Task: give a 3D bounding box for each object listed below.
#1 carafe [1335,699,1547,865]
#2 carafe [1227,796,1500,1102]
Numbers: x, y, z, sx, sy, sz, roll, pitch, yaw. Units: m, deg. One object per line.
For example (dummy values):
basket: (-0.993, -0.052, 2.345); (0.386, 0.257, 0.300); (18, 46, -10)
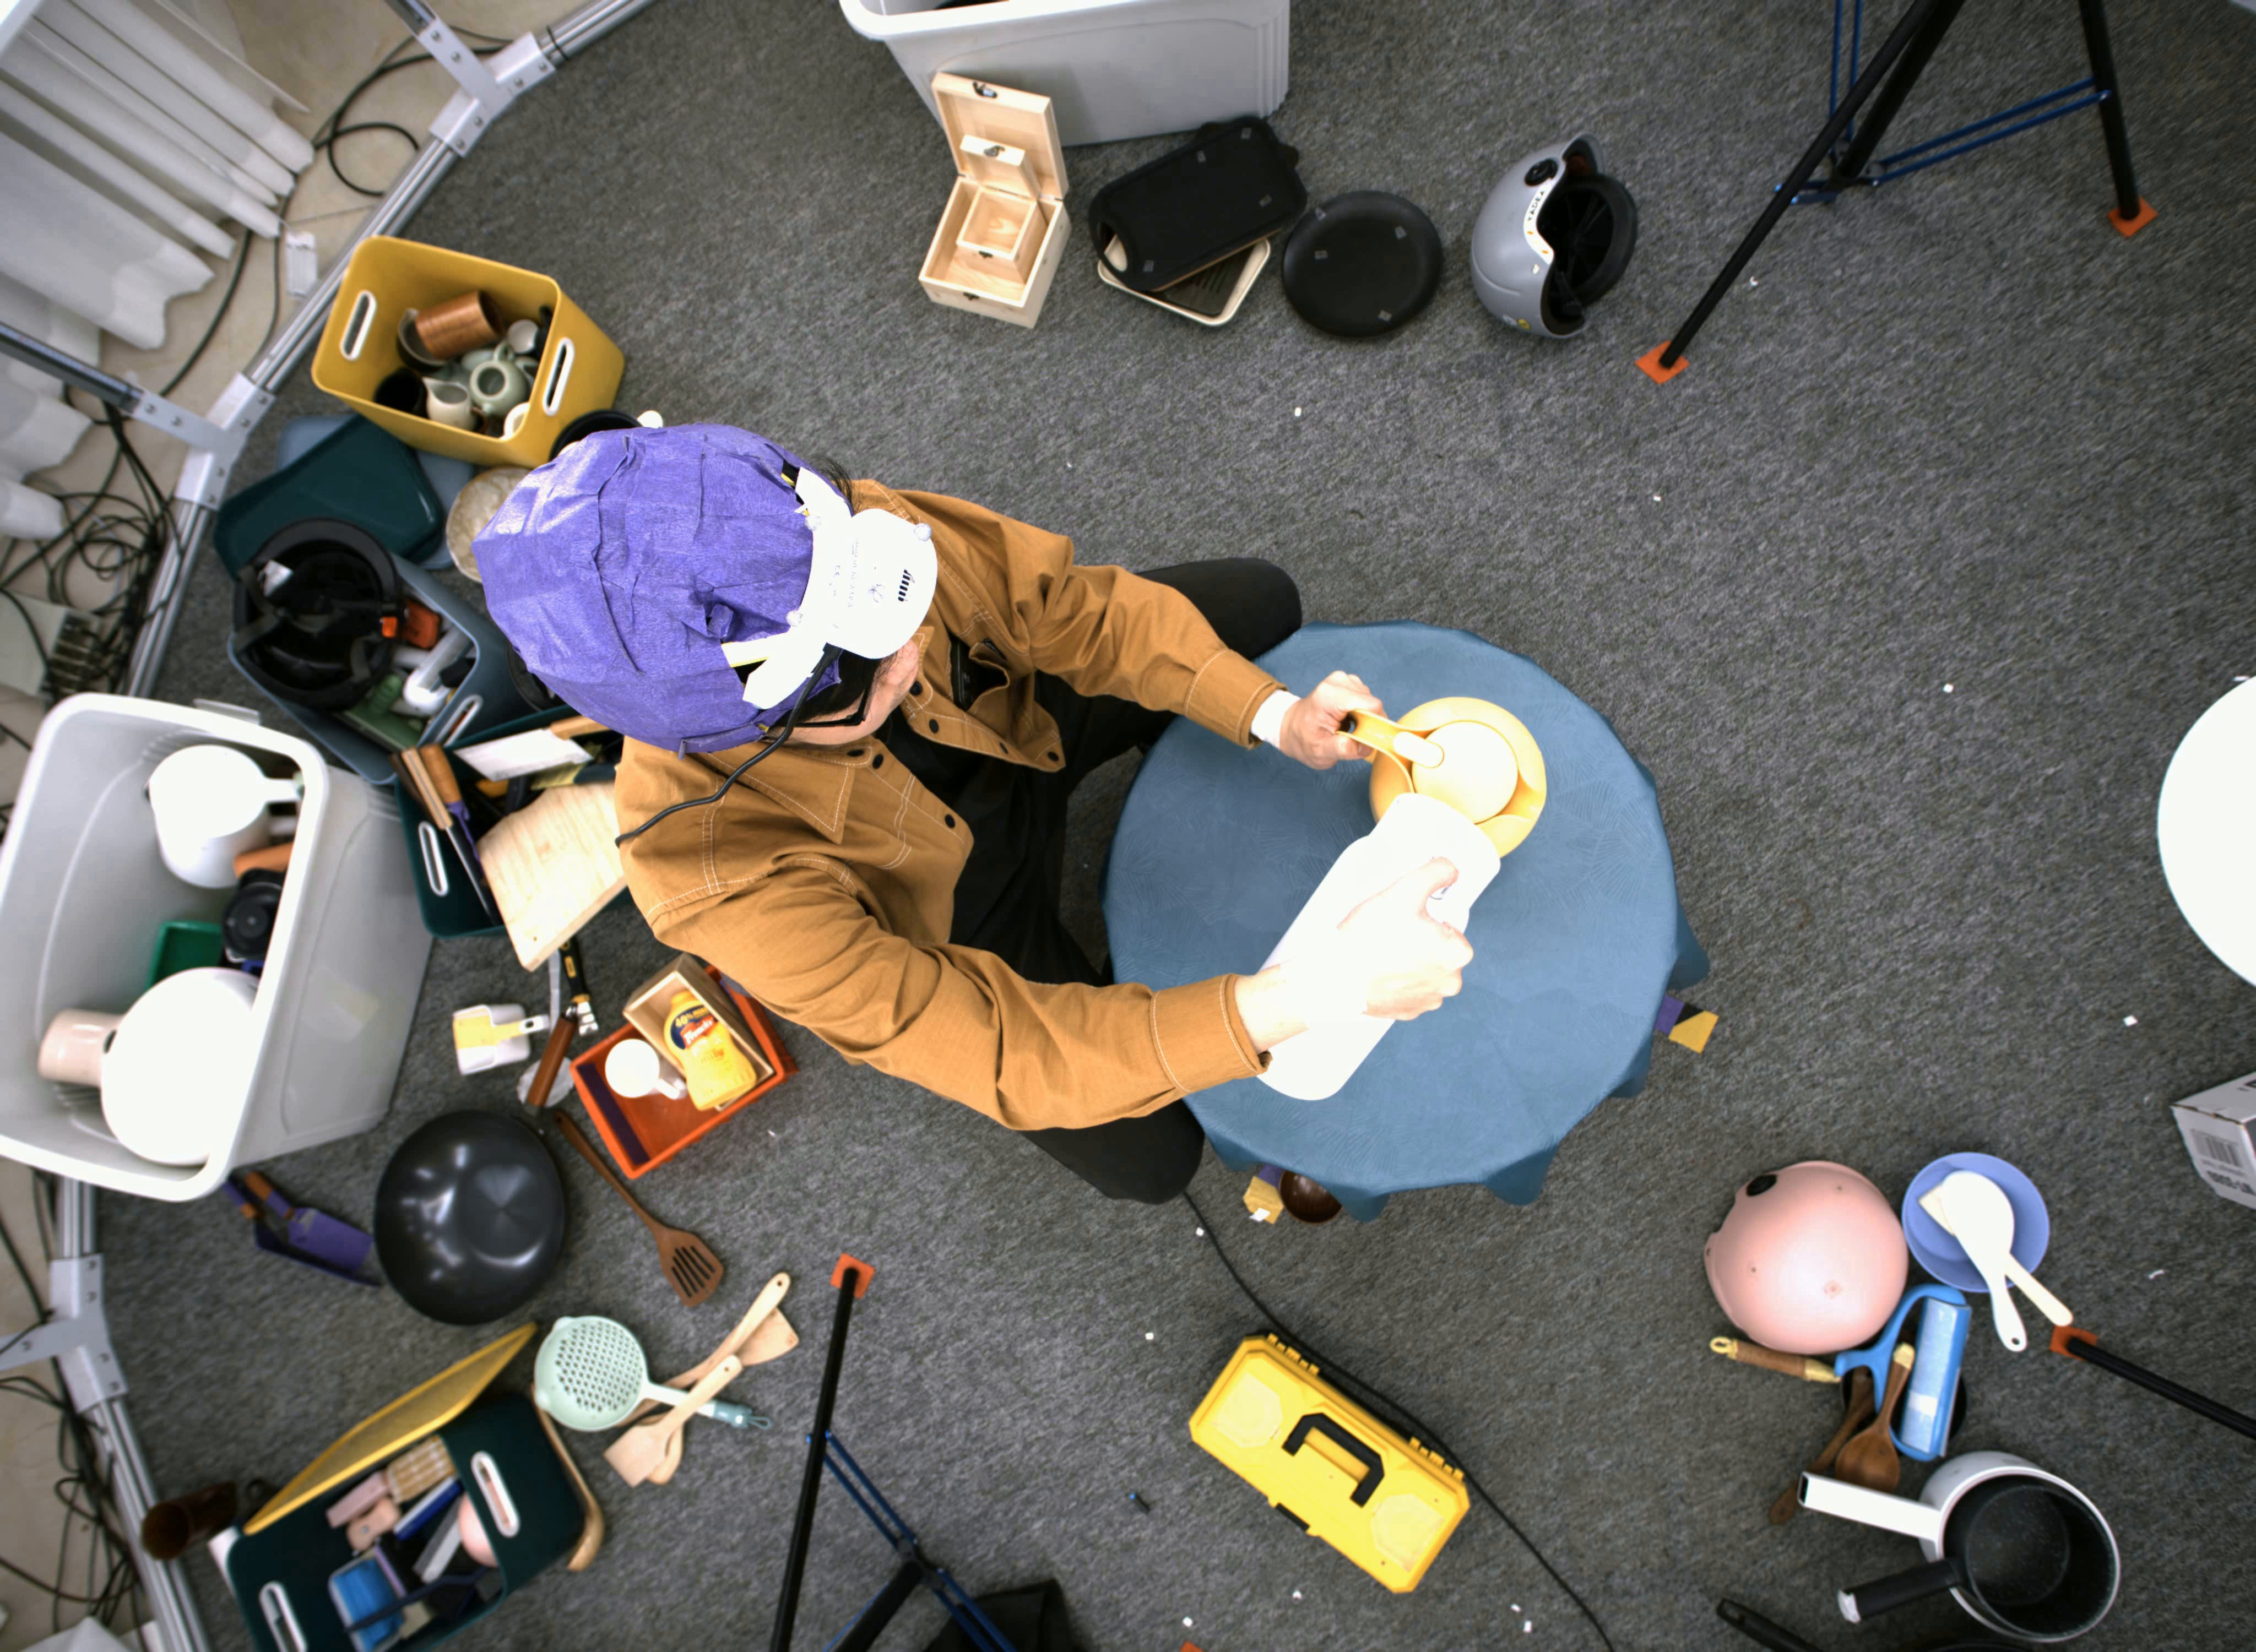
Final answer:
carafe: (0.290, -0.050, 1.290); (0.202, 0.260, 0.164); (30, 91, 8)
carafe: (0.189, 0.113, 1.140); (0.124, 0.168, 0.275); (32, 124, -2)
